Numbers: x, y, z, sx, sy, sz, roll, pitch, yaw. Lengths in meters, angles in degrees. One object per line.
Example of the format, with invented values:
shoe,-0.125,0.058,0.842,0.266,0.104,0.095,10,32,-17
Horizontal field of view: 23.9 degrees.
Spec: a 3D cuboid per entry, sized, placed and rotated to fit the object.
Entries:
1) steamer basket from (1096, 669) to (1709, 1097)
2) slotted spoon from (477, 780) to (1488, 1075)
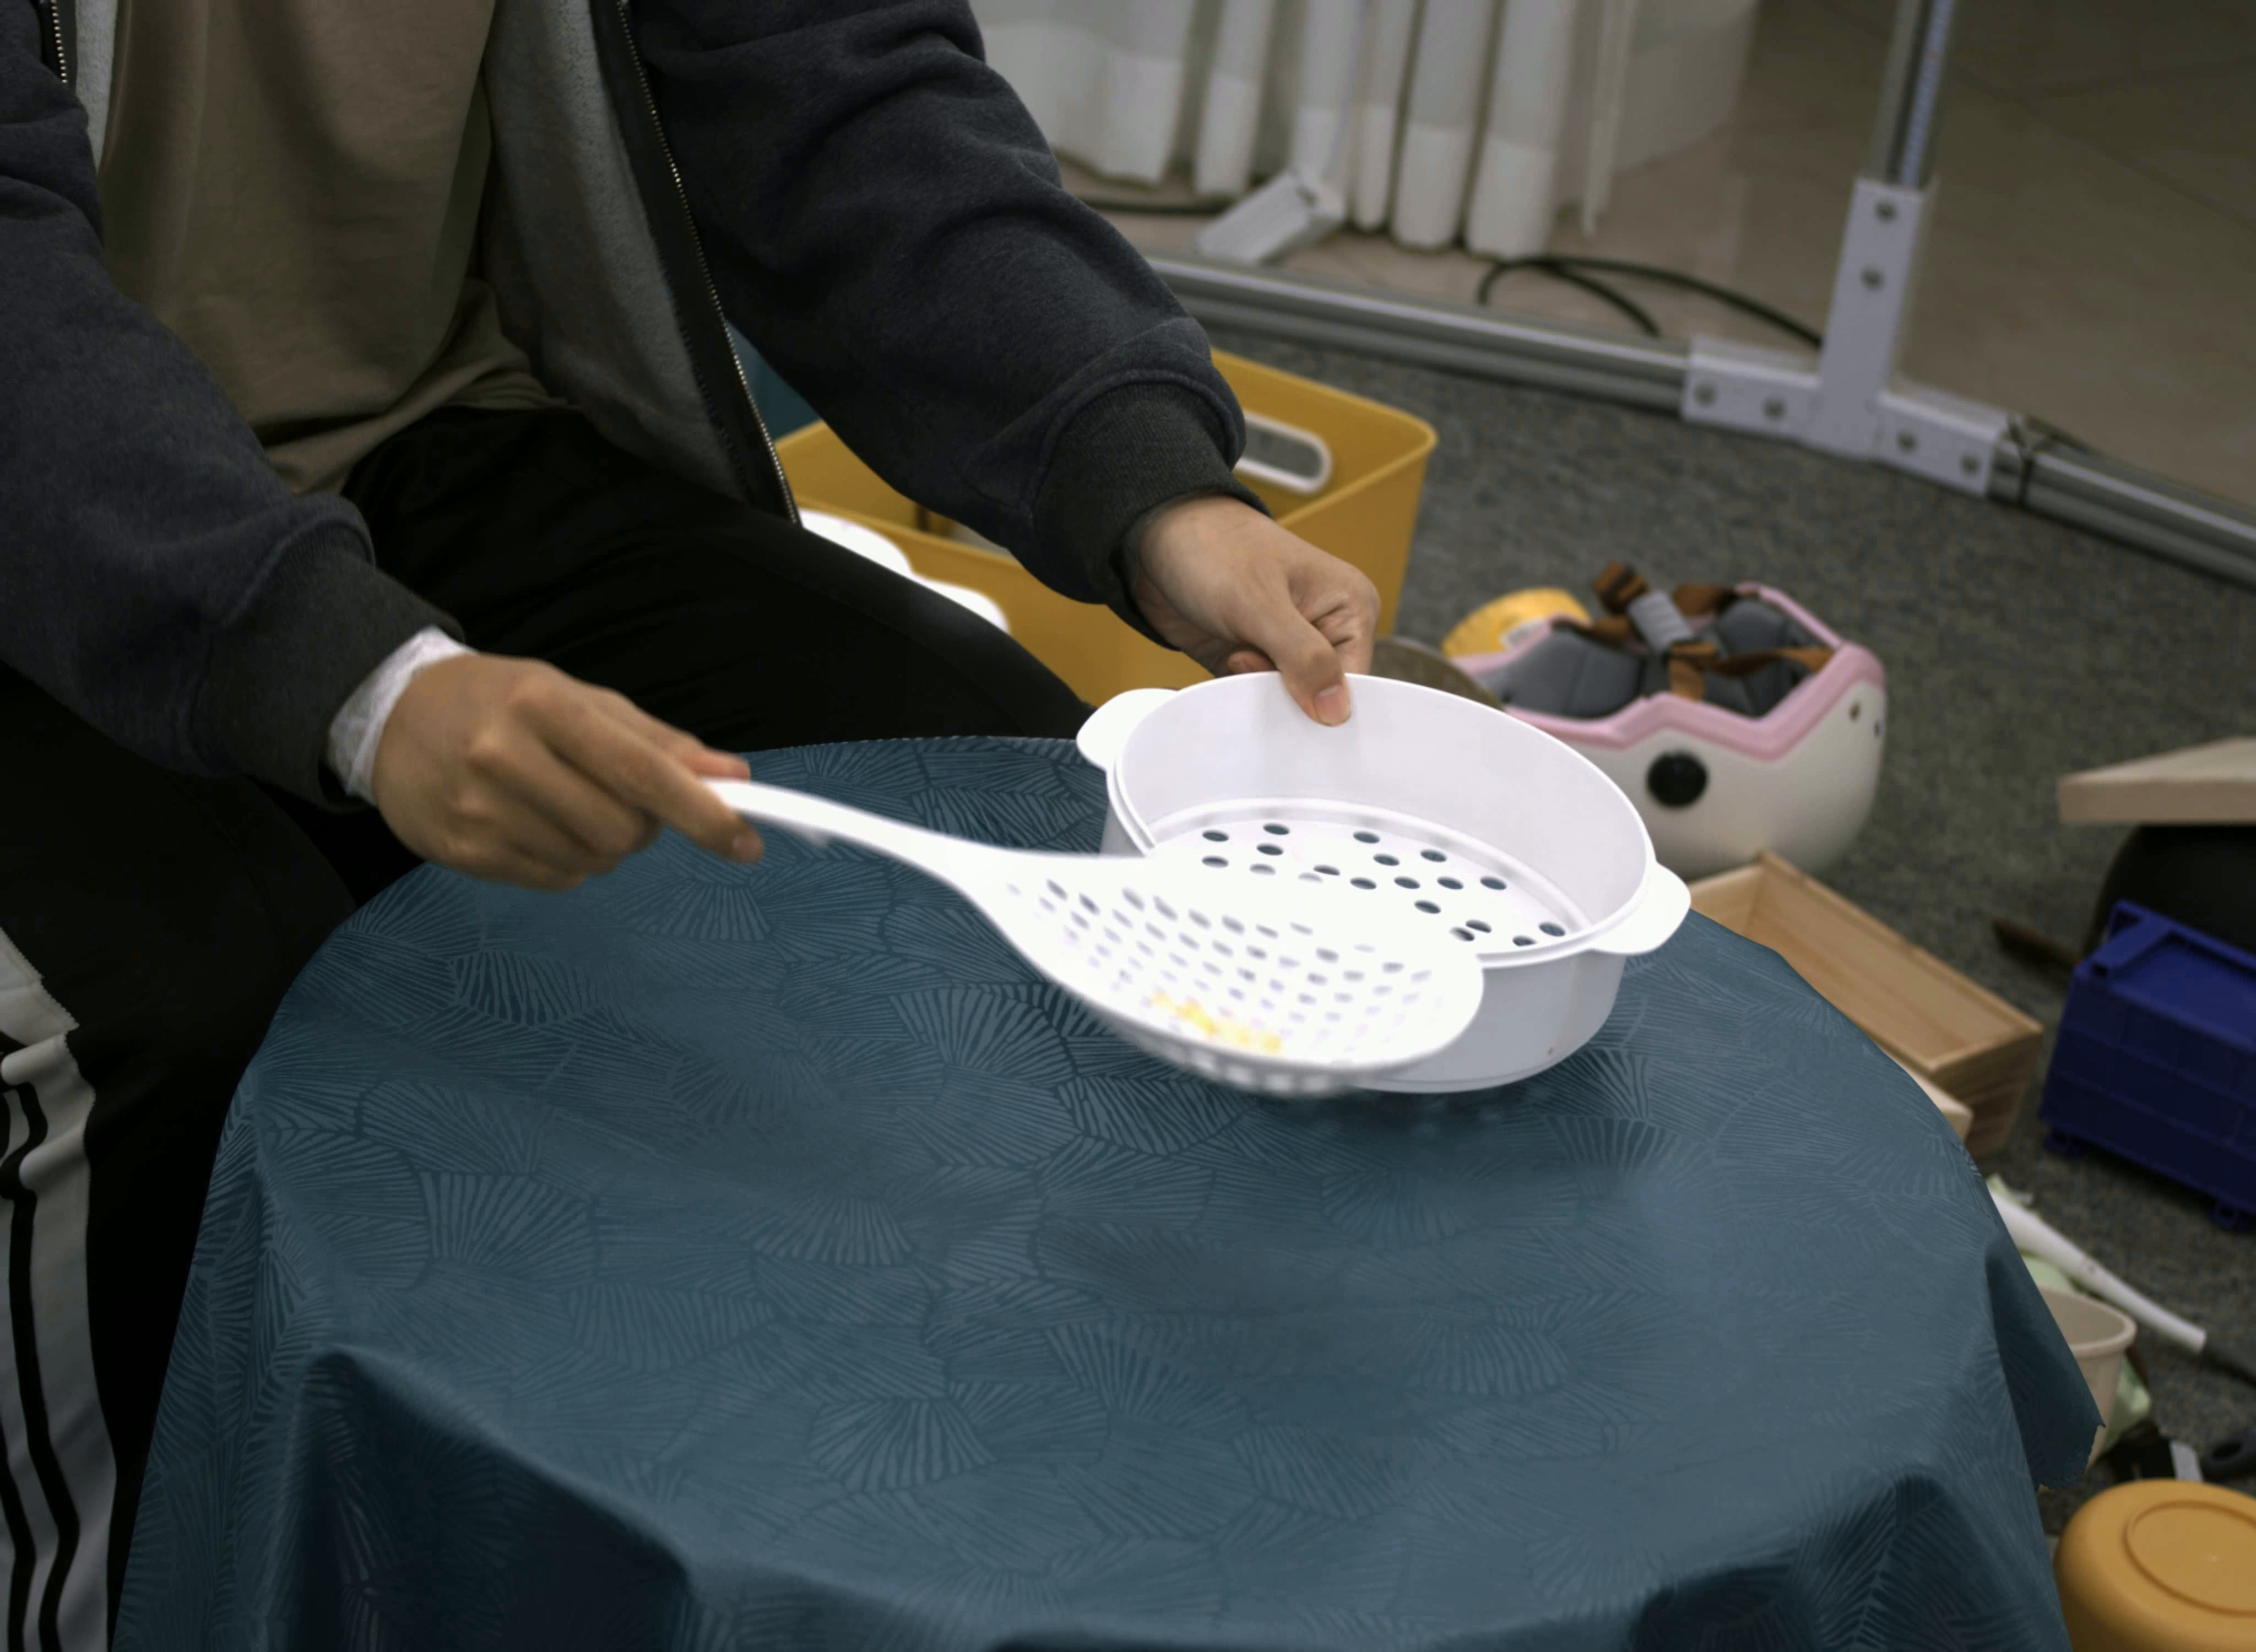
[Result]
steamer basket,0.091,0.021,1.914,0.231,0.069,0.202,22,30,15
slotted spoon,-0.053,0.019,1.743,0.349,0.050,0.137,18,29,16
